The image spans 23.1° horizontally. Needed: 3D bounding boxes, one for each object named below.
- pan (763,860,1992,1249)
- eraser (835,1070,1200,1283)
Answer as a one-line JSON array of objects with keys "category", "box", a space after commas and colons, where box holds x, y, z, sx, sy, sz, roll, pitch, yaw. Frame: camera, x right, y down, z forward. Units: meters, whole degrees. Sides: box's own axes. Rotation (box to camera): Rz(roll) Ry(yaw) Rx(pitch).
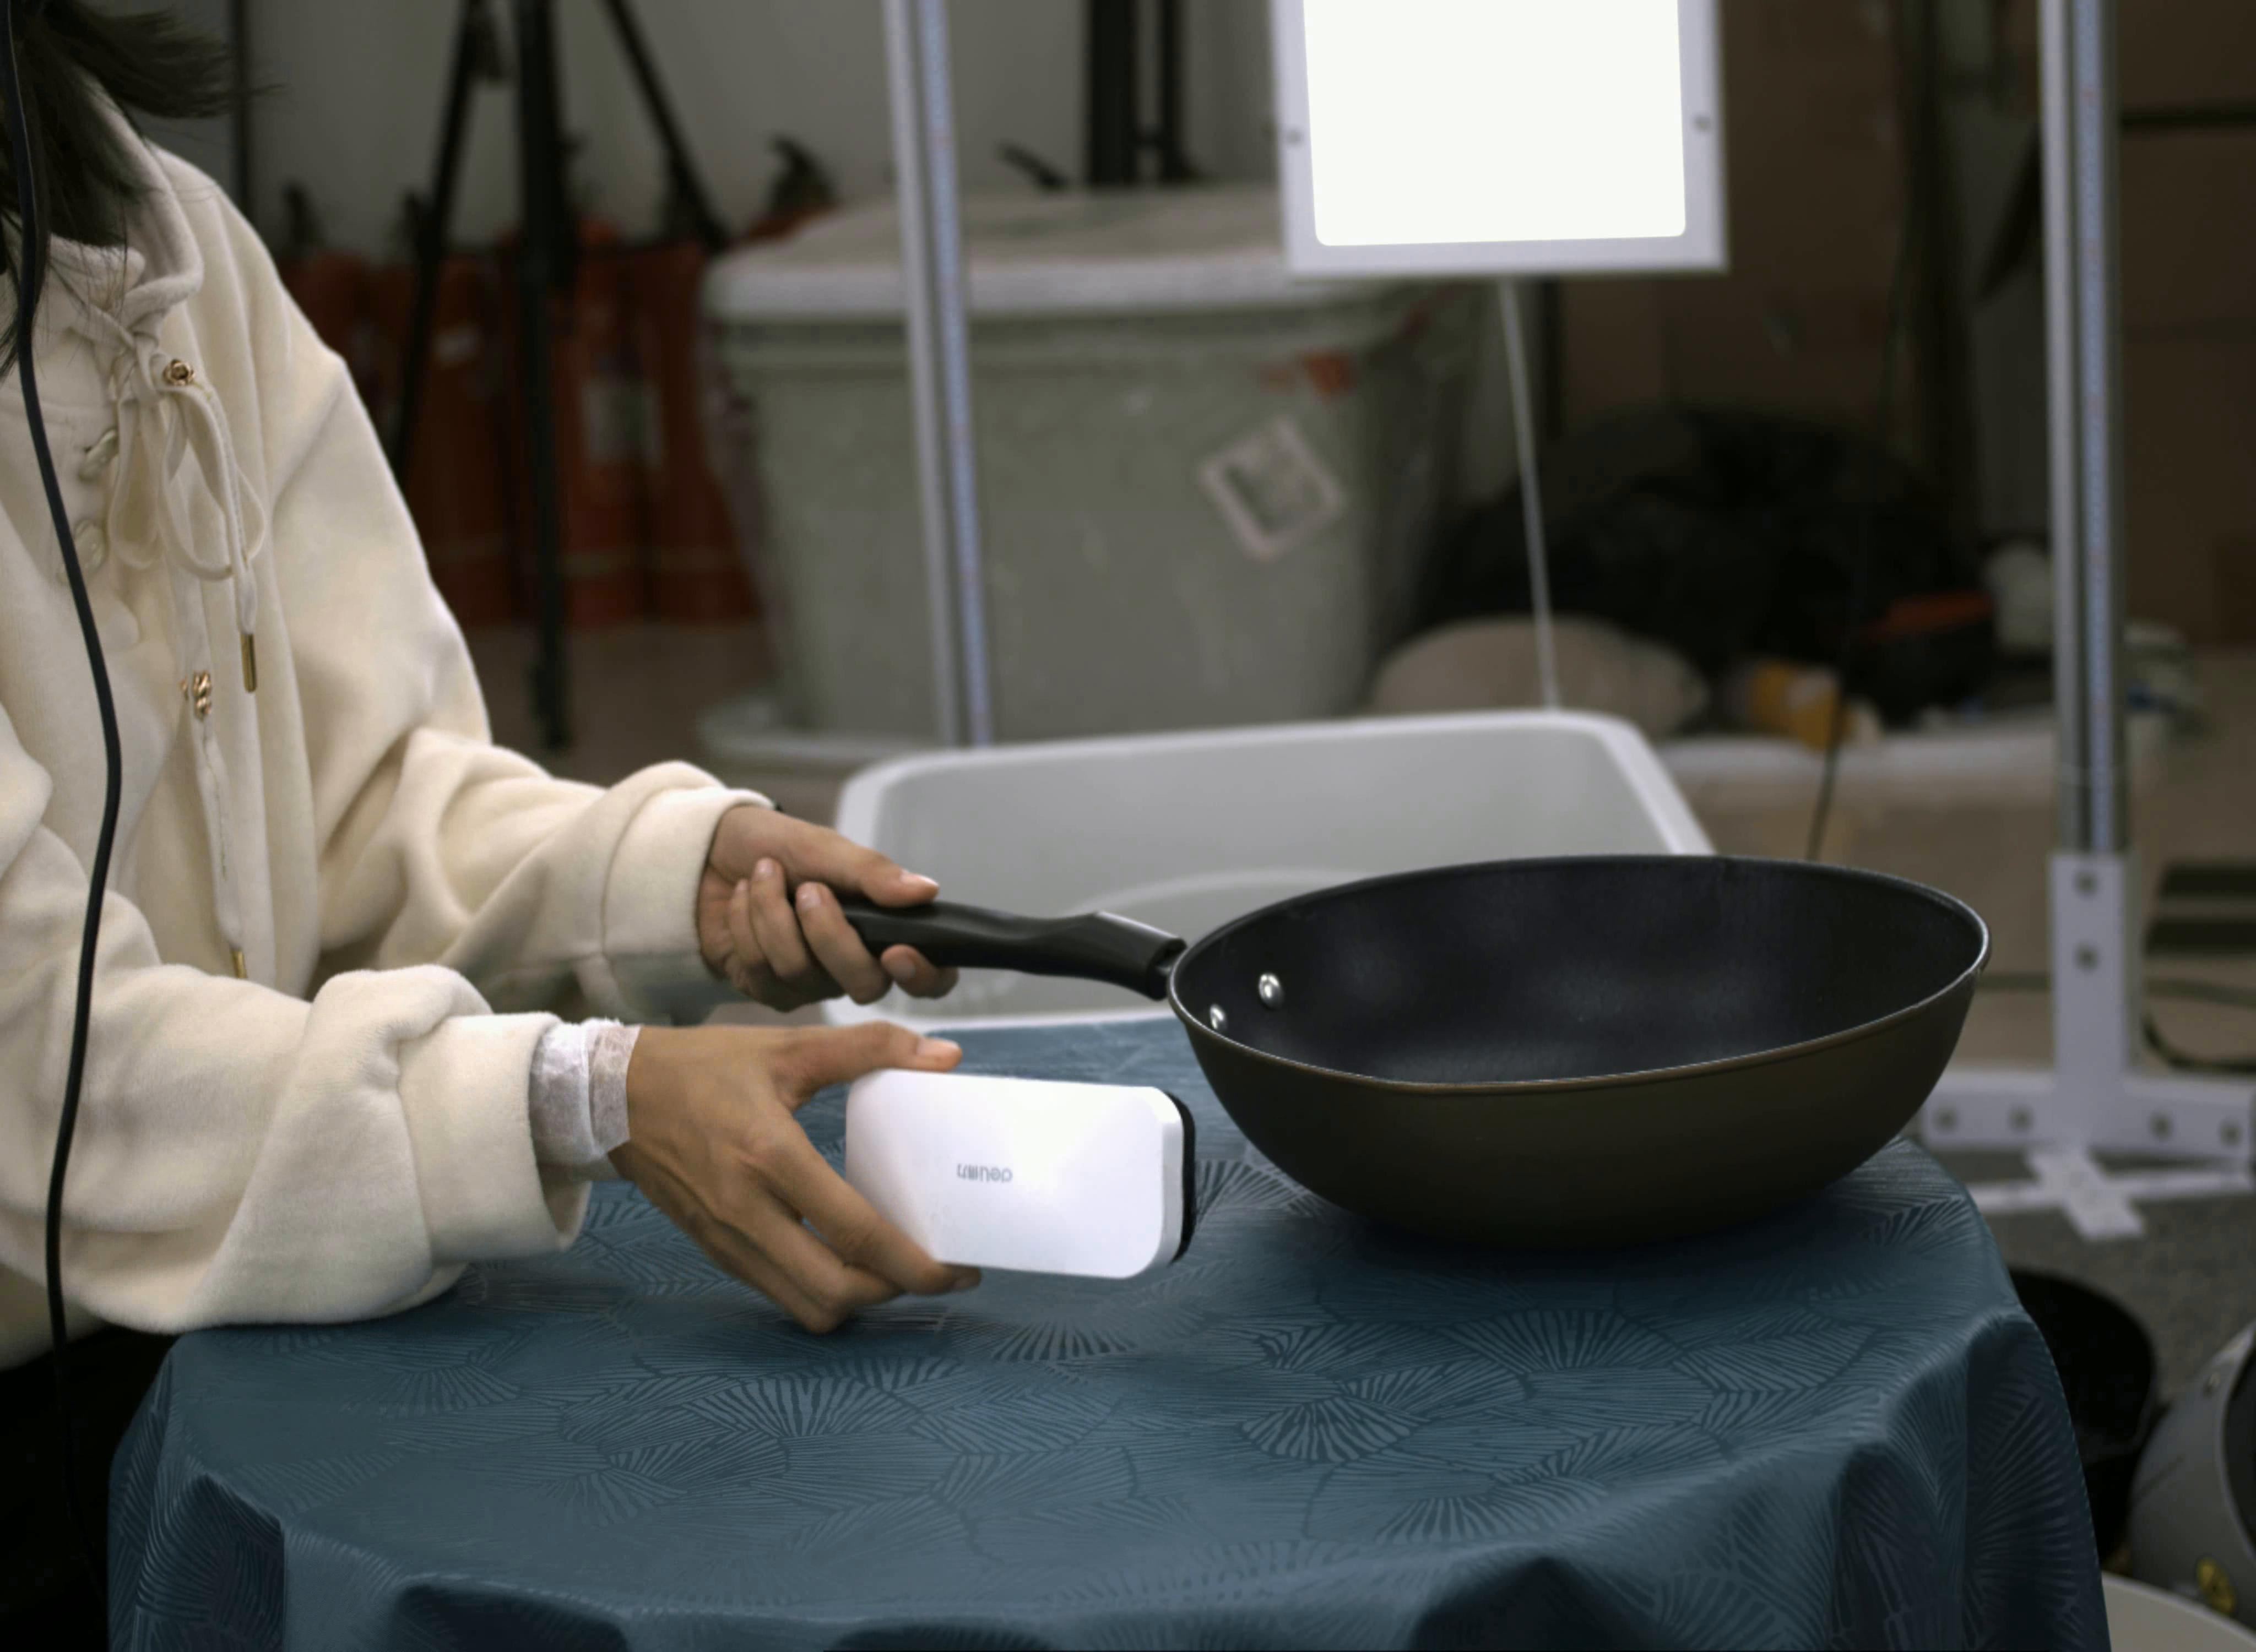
[{"category": "pan", "box": [0.074, 0.078, 1.897, 0.472, 0.087, 0.282, 2, 15, 29]}, {"category": "eraser", "box": [-0.037, 0.111, 1.753, 0.134, 0.063, 0.034, 2, -4, 38]}]
